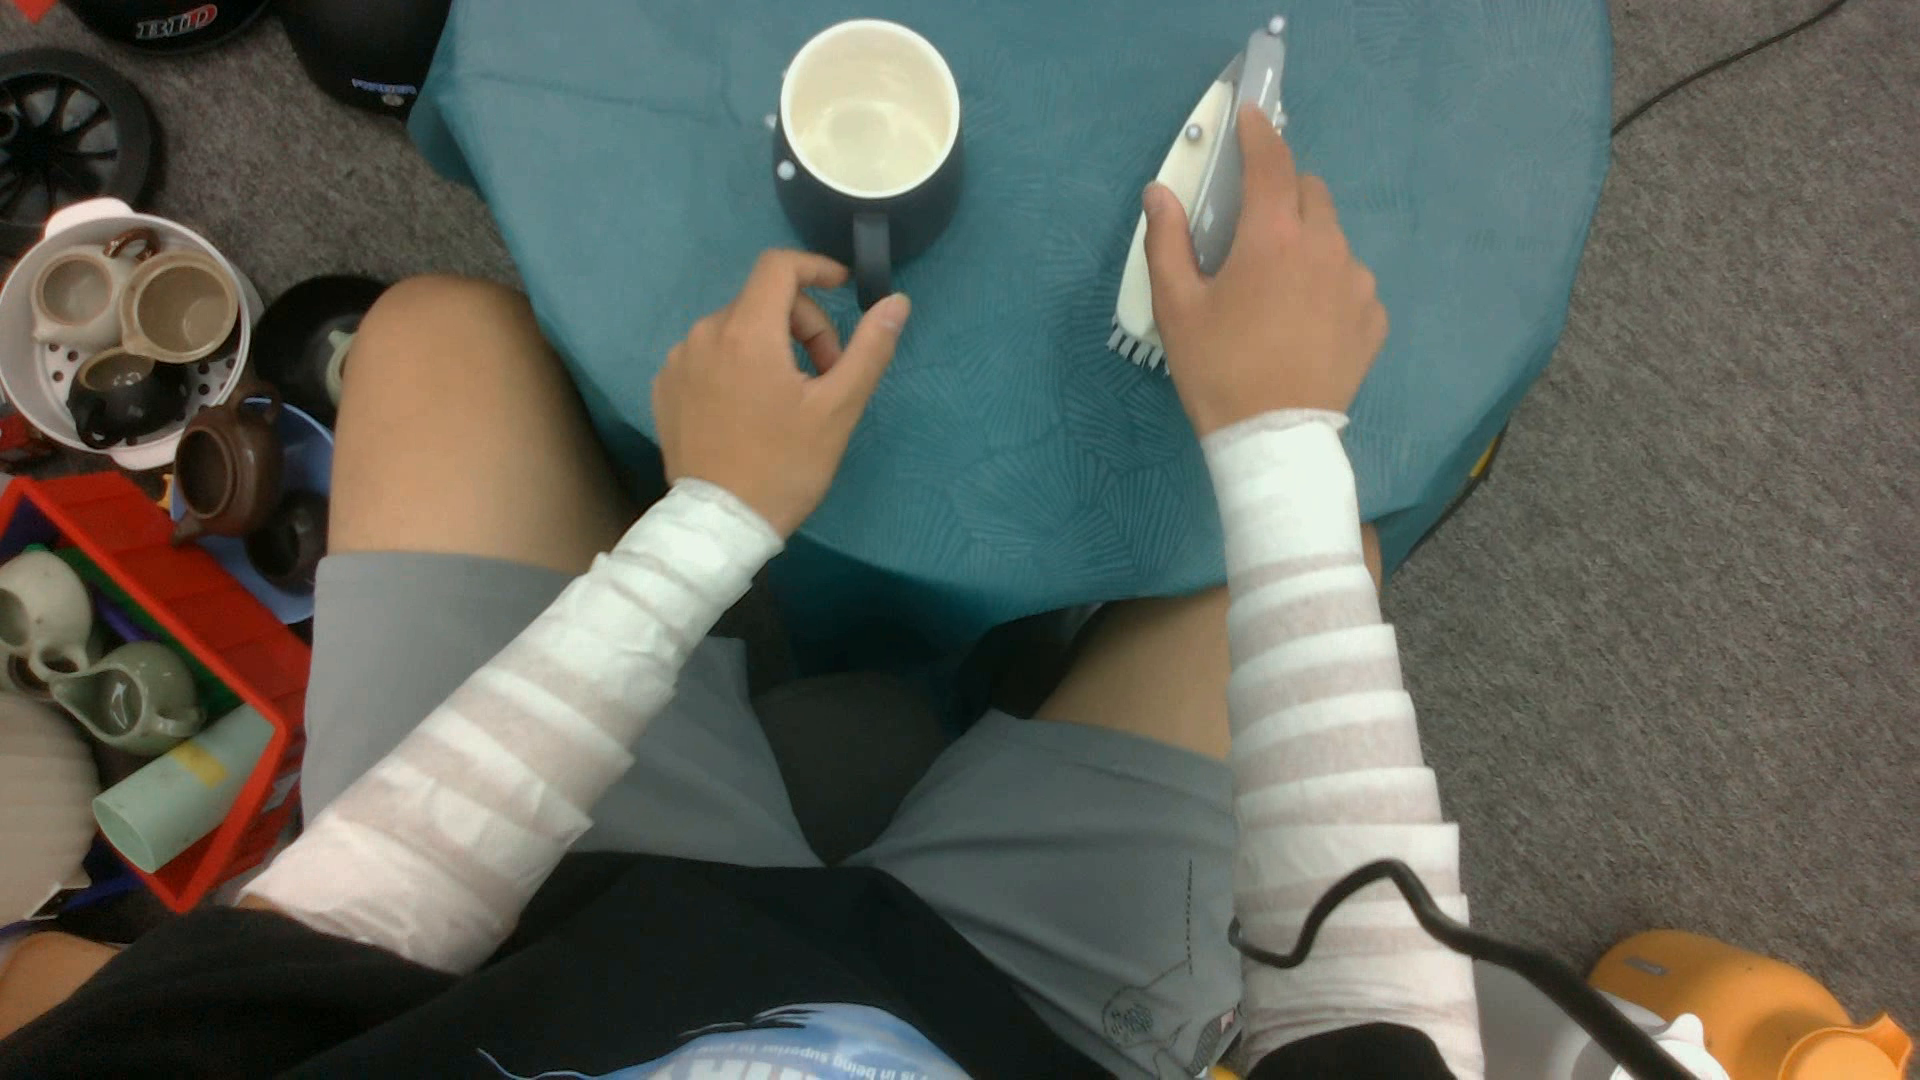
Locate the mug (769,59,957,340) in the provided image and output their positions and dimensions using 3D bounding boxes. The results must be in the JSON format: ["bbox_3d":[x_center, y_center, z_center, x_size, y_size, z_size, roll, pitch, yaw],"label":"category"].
[{"bbox_3d":[-0.046,-0.158,0.661,0.093,0.090,0.123,-2,83,-5],"label":"mug"}]

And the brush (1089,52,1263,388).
[{"bbox_3d":[0.117,-0.169,0.673,0.061,0.094,0.176,19,78,-1],"label":"brush"}]
